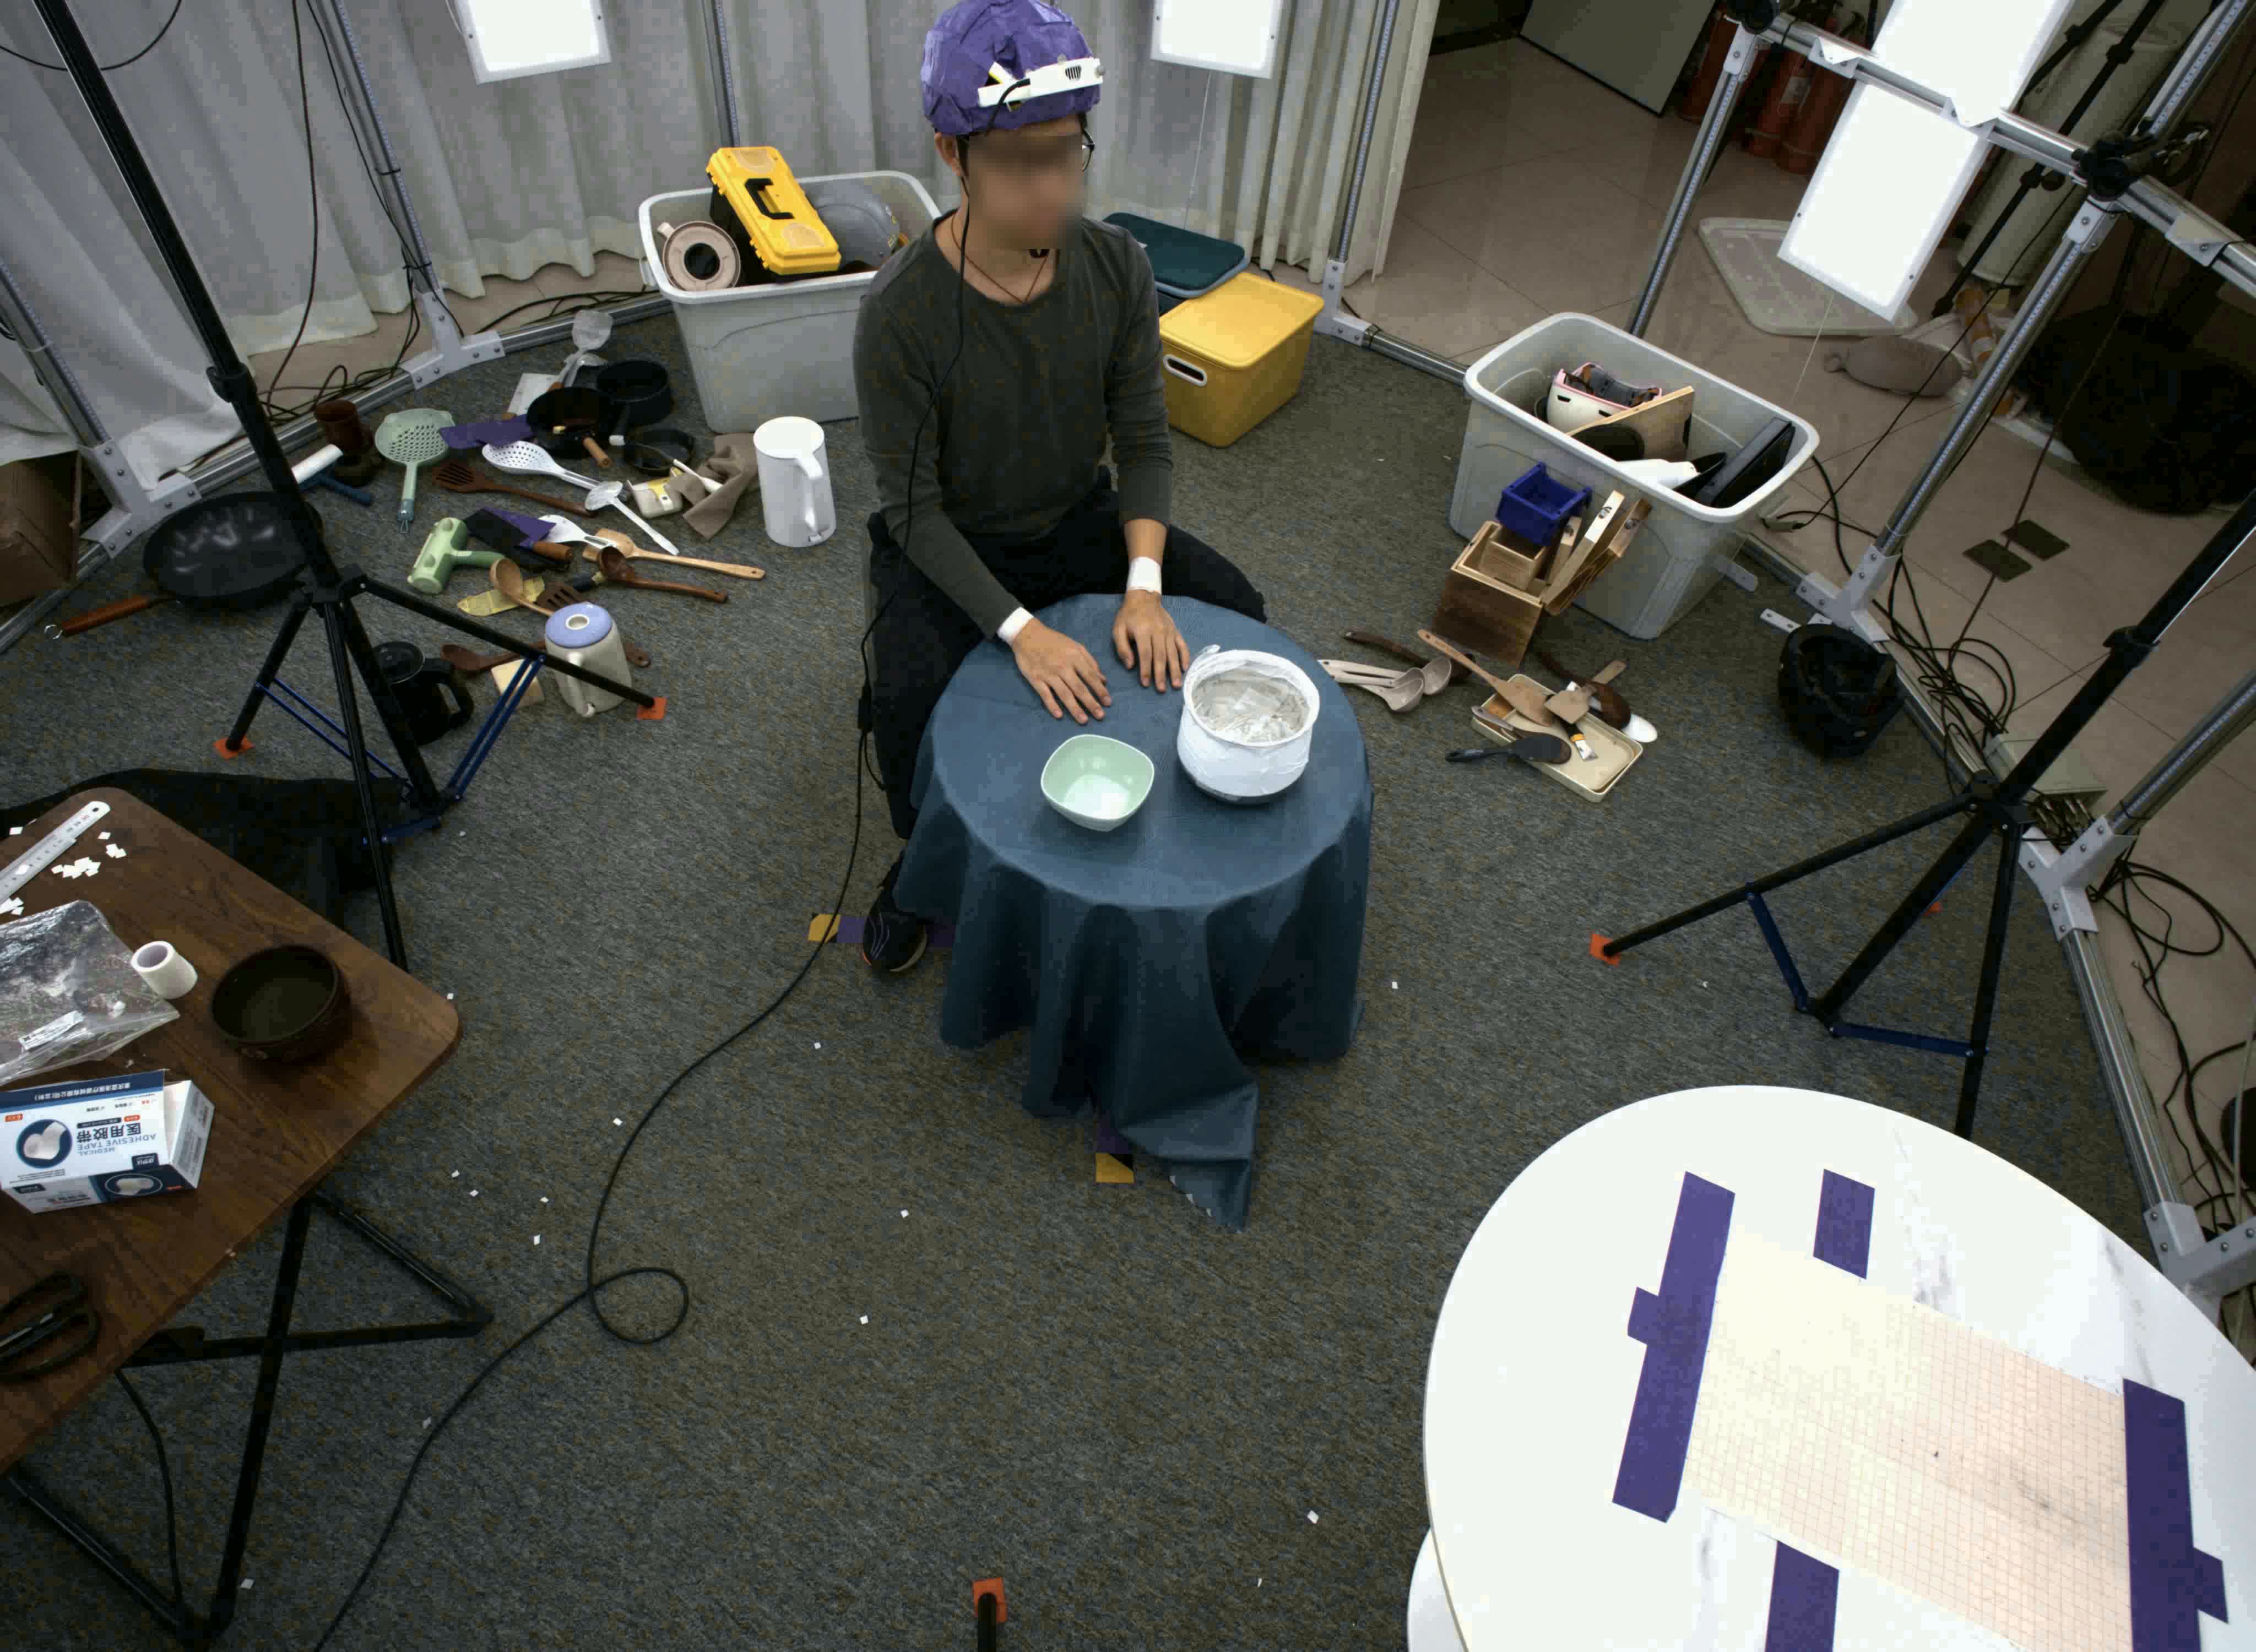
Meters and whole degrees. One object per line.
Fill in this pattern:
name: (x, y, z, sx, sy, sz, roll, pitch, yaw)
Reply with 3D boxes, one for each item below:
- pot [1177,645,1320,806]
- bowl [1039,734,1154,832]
pot: (0.143, -0.145, 1.716, 0.179, 0.133, 0.239, -20, 53, -19)
bowl: (-0.042, -0.046, 1.668, 0.151, 0.057, 0.155, 3, 50, -3)
